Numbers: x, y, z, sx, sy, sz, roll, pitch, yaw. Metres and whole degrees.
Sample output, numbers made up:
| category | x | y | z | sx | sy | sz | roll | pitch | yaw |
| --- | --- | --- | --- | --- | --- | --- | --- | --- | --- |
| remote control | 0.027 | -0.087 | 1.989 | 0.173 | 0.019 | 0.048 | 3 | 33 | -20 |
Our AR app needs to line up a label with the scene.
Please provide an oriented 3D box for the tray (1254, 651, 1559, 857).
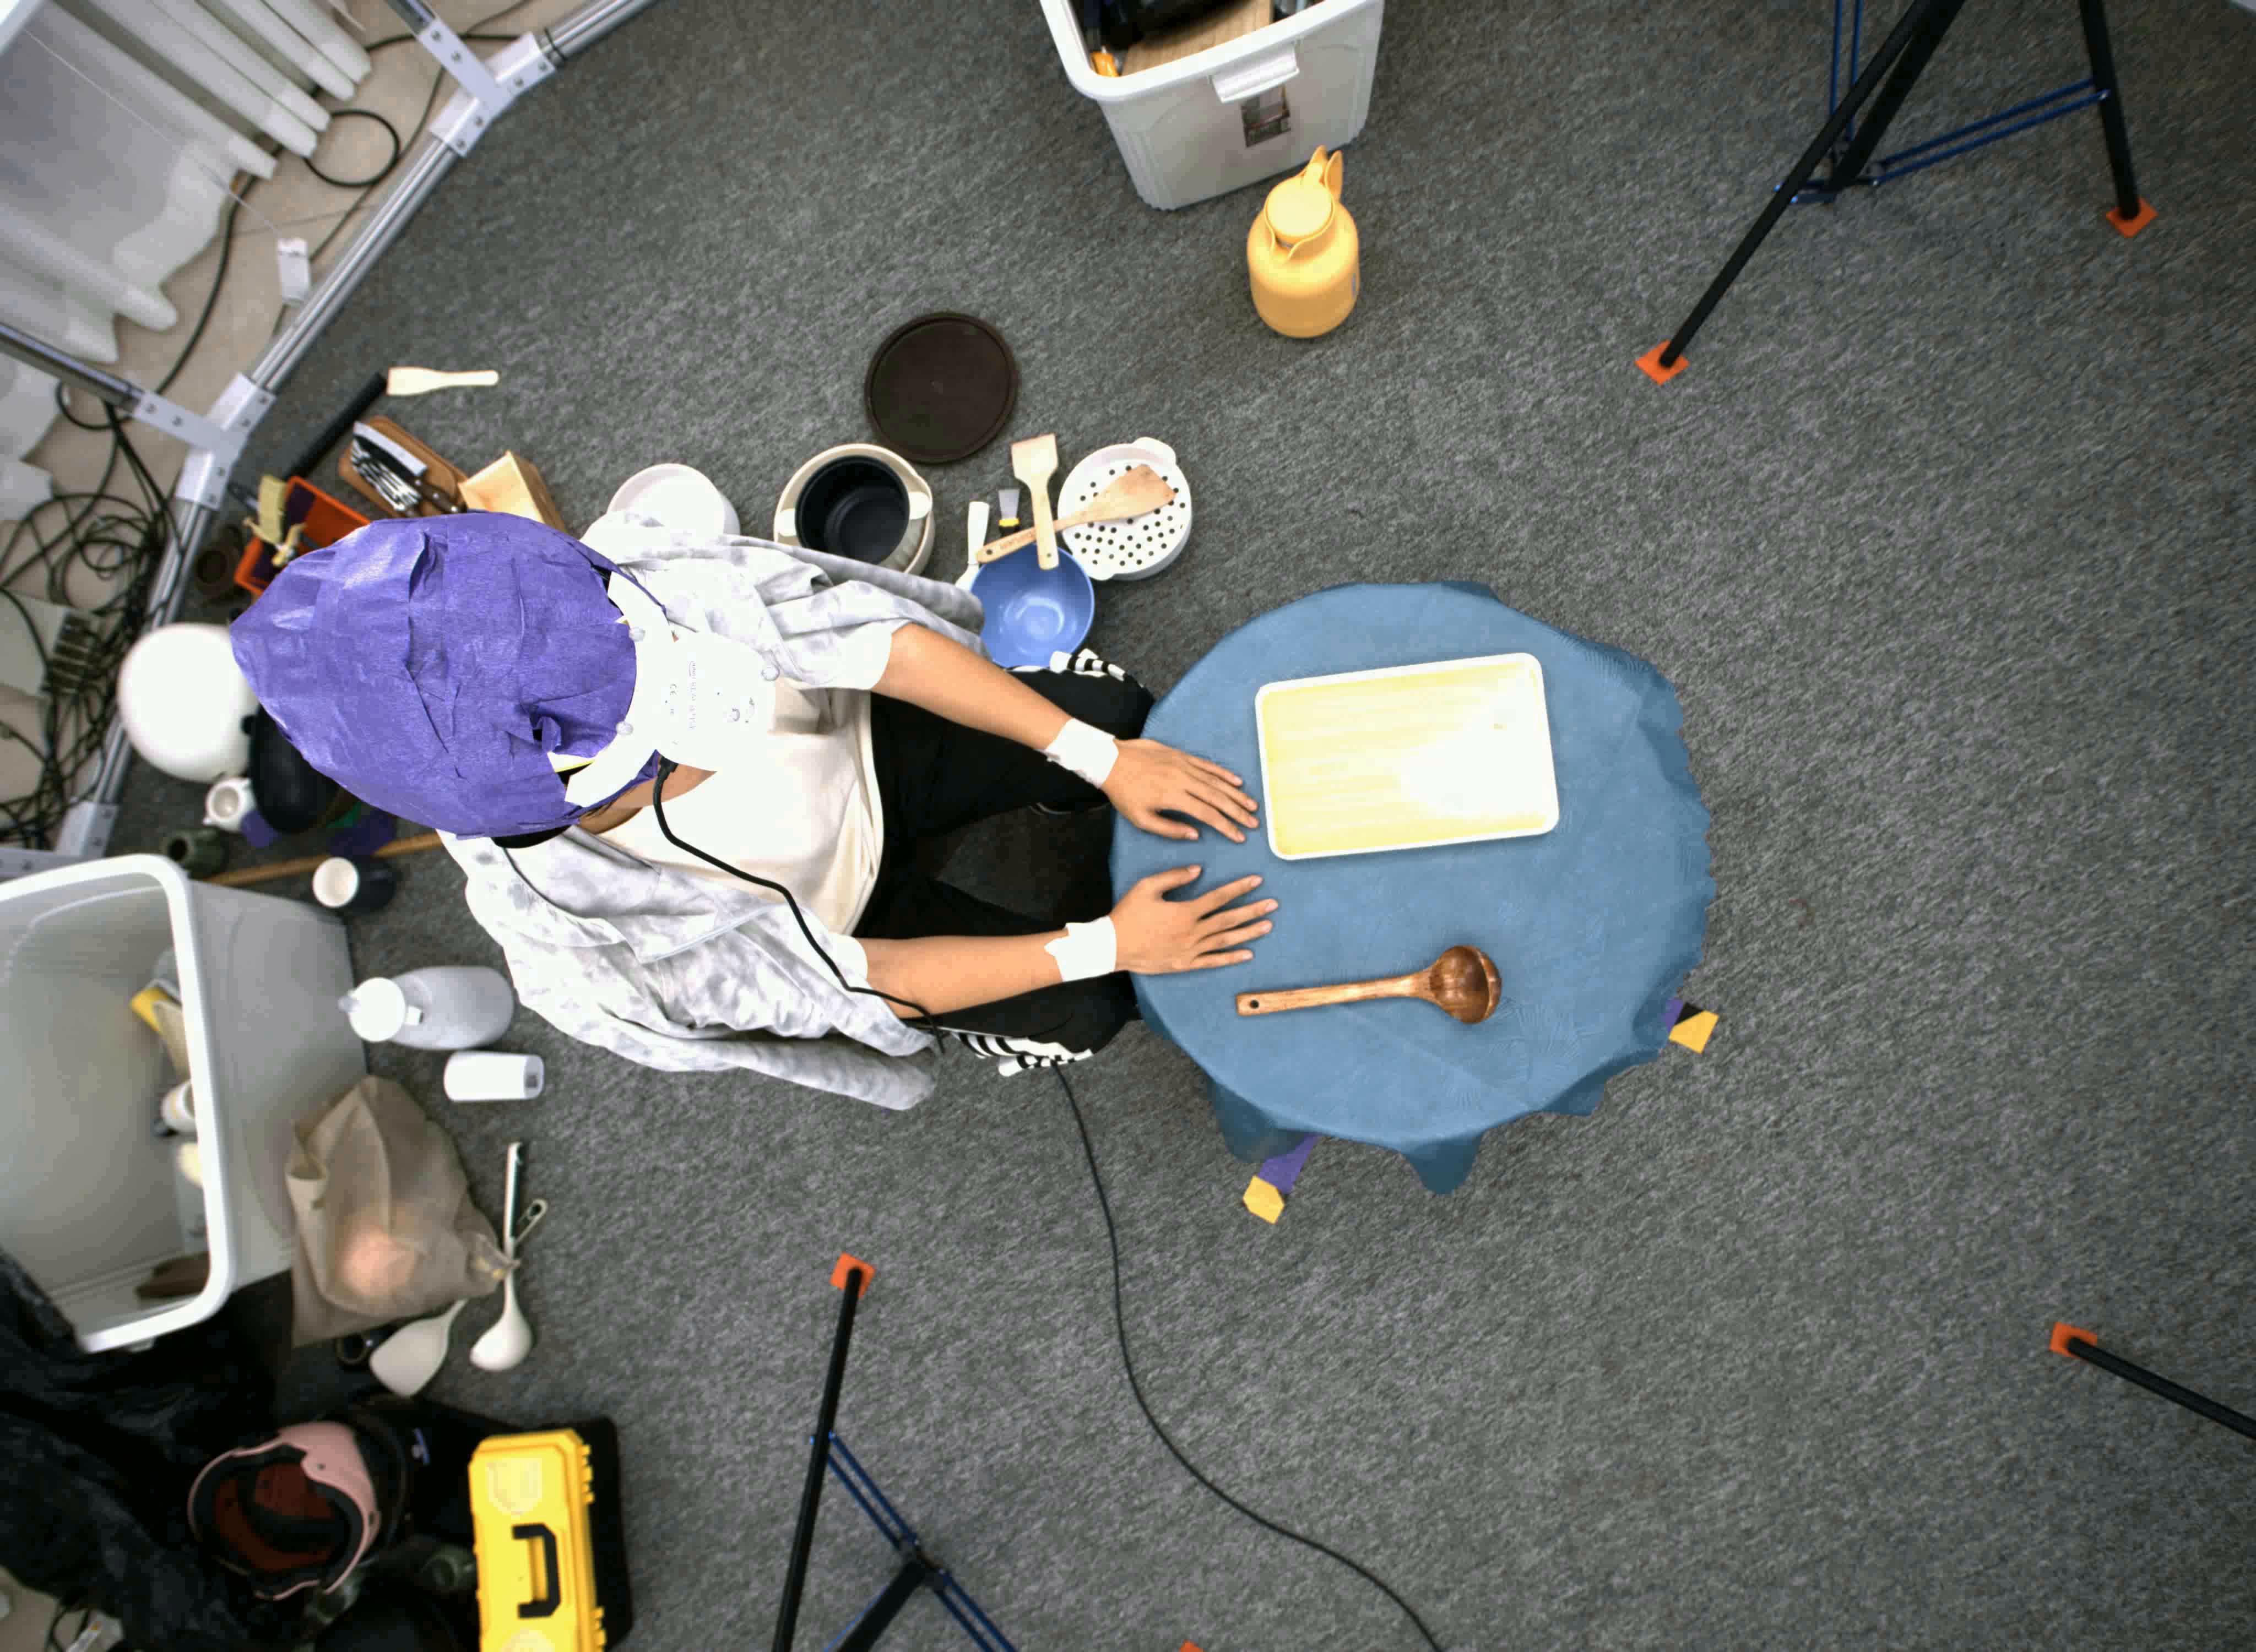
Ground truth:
| category | x | y | z | sx | sy | sz | roll | pitch | yaw |
| --- | --- | --- | --- | --- | --- | --- | --- | --- | --- |
| tray | 0.290 | -0.075 | 1.448 | 0.302 | 0.027 | 0.190 | -6 | 86 | 10 |

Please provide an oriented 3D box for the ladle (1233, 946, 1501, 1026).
| category | x | y | z | sx | sy | sz | roll | pitch | yaw |
| --- | --- | --- | --- | --- | --- | --- | --- | --- | --- |
| ladle | 0.242 | 0.171 | 1.419 | 0.275 | 0.076 | 0.082 | -6 | 88 | 10 |
